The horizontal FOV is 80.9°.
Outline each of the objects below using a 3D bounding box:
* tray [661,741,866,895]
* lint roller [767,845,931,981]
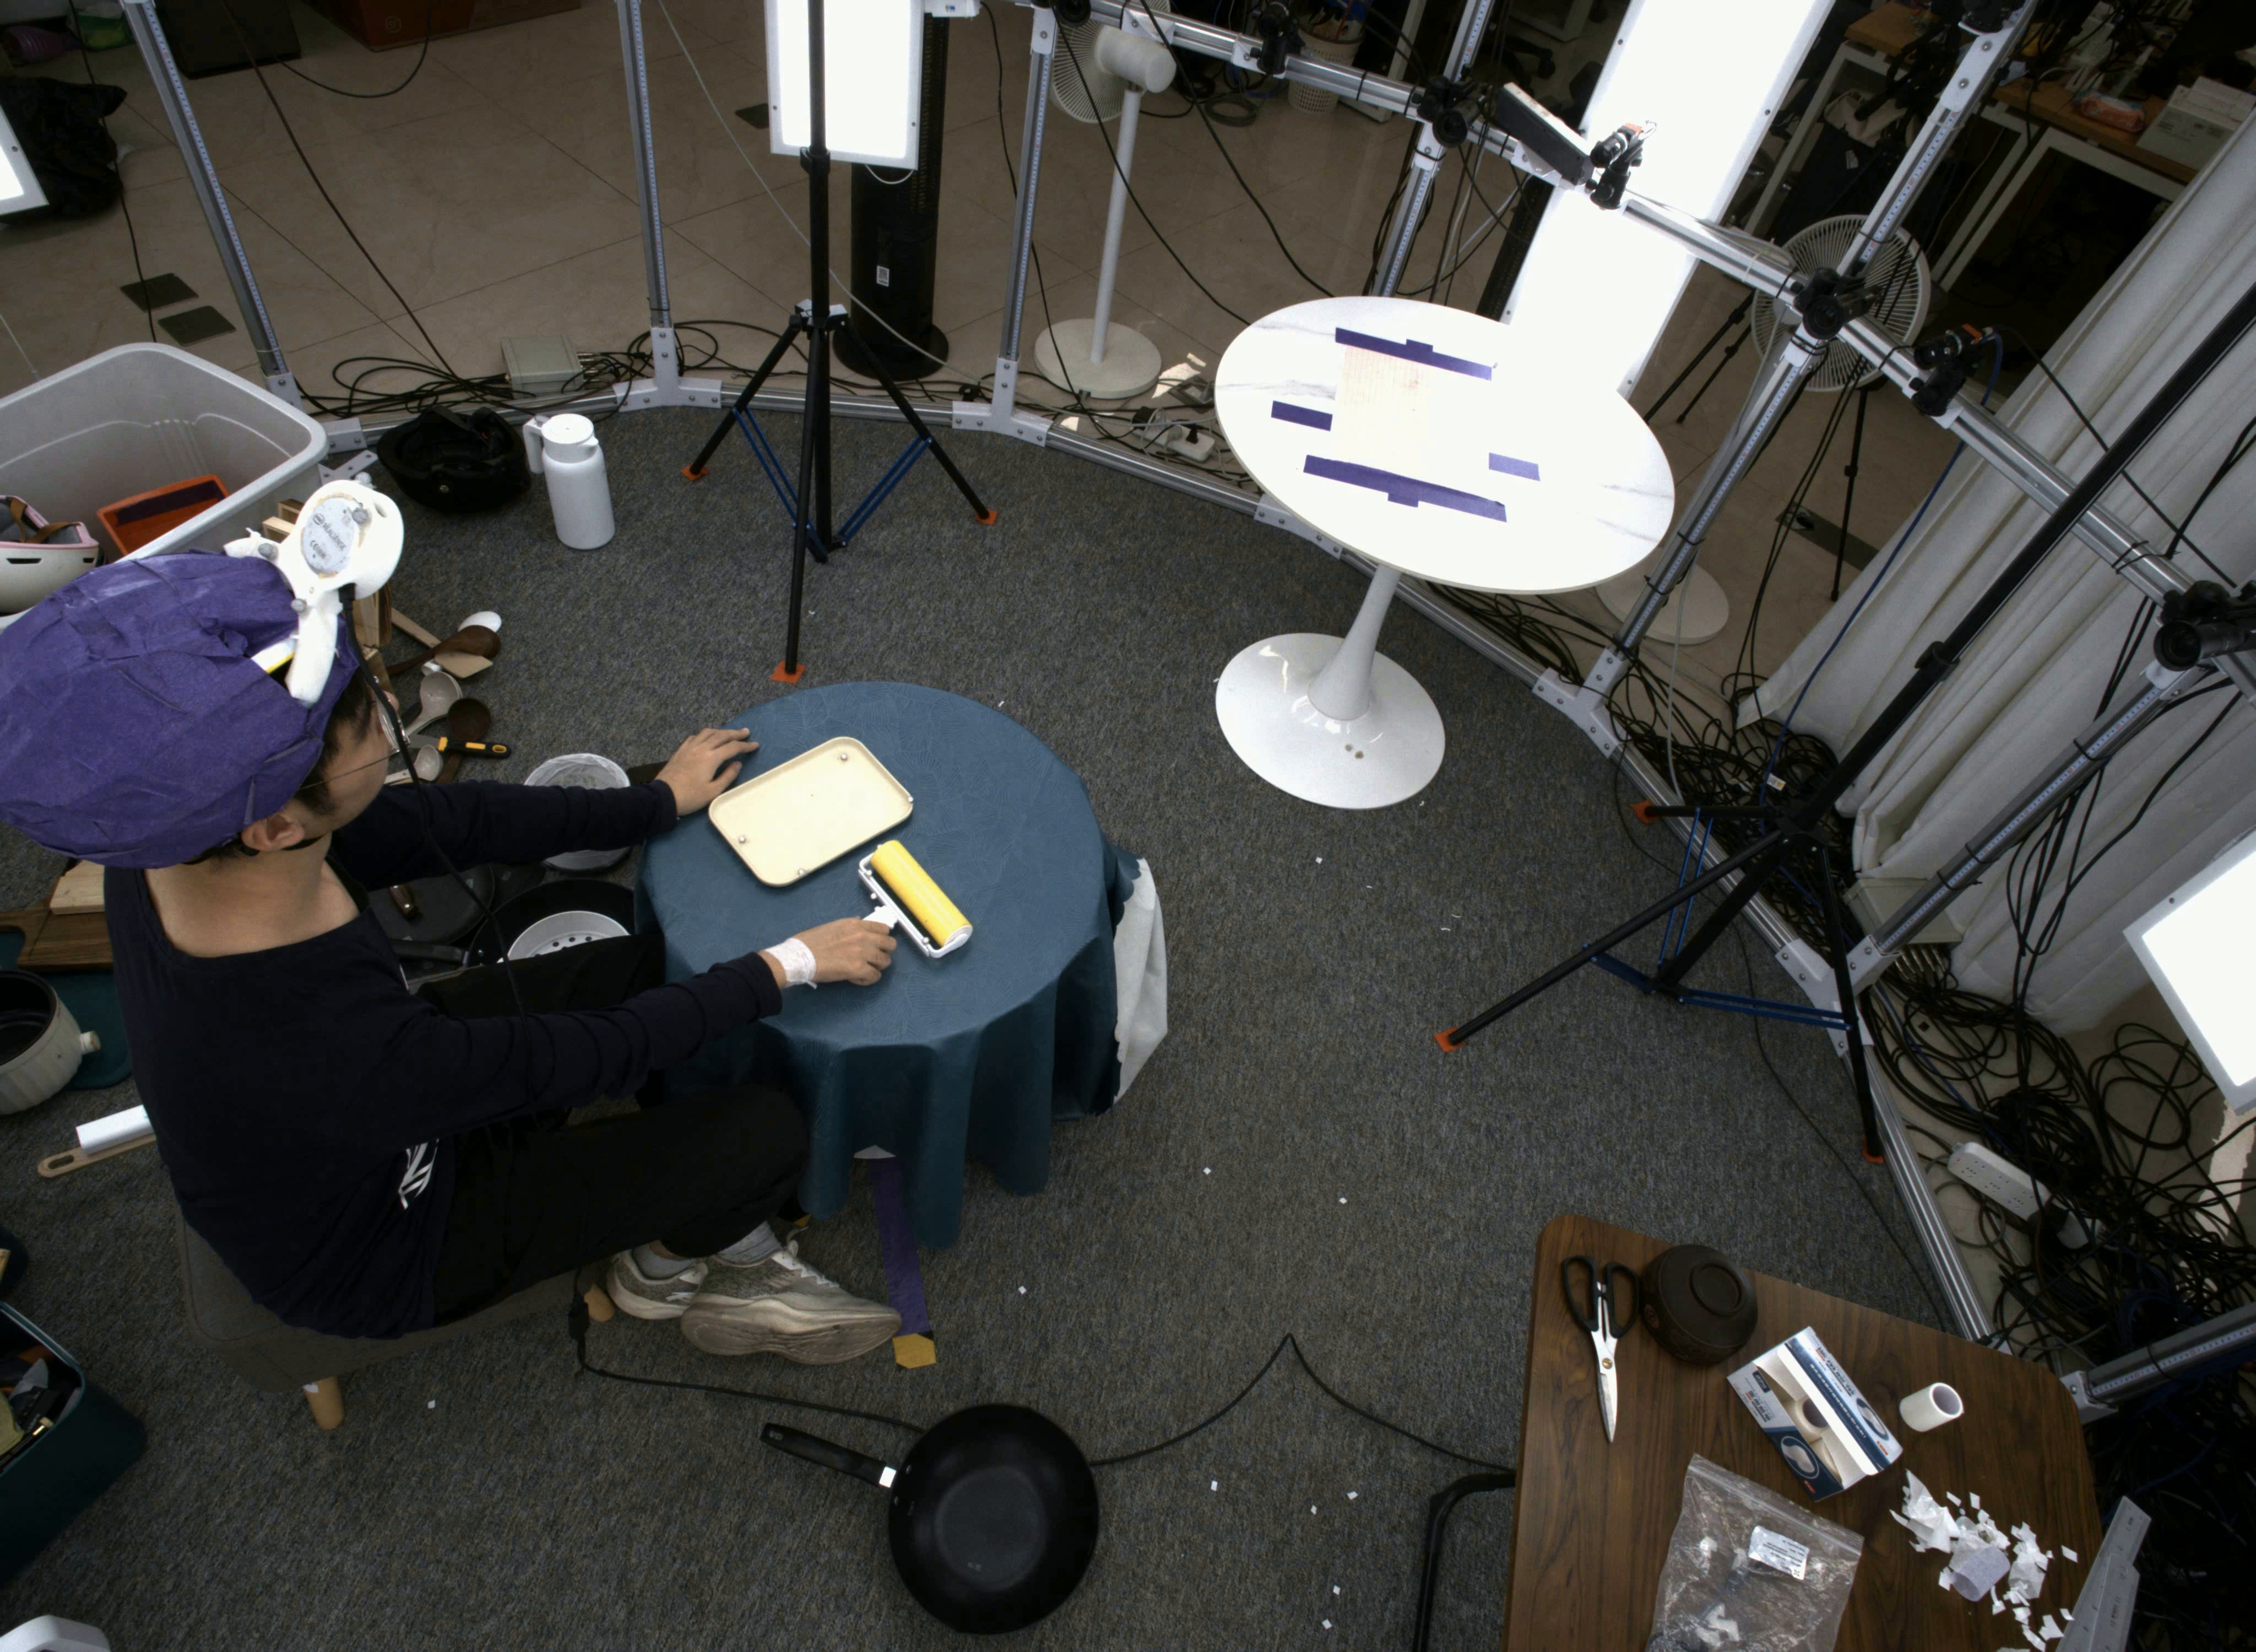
[{"bbox_3d":[-0.482,-0.014,1.719,0.167,0.018,0.240,42,56,18],"label":"tray"},{"bbox_3d":[-0.370,0.125,1.625,0.170,0.052,0.192,42,52,19],"label":"lint roller"}]
